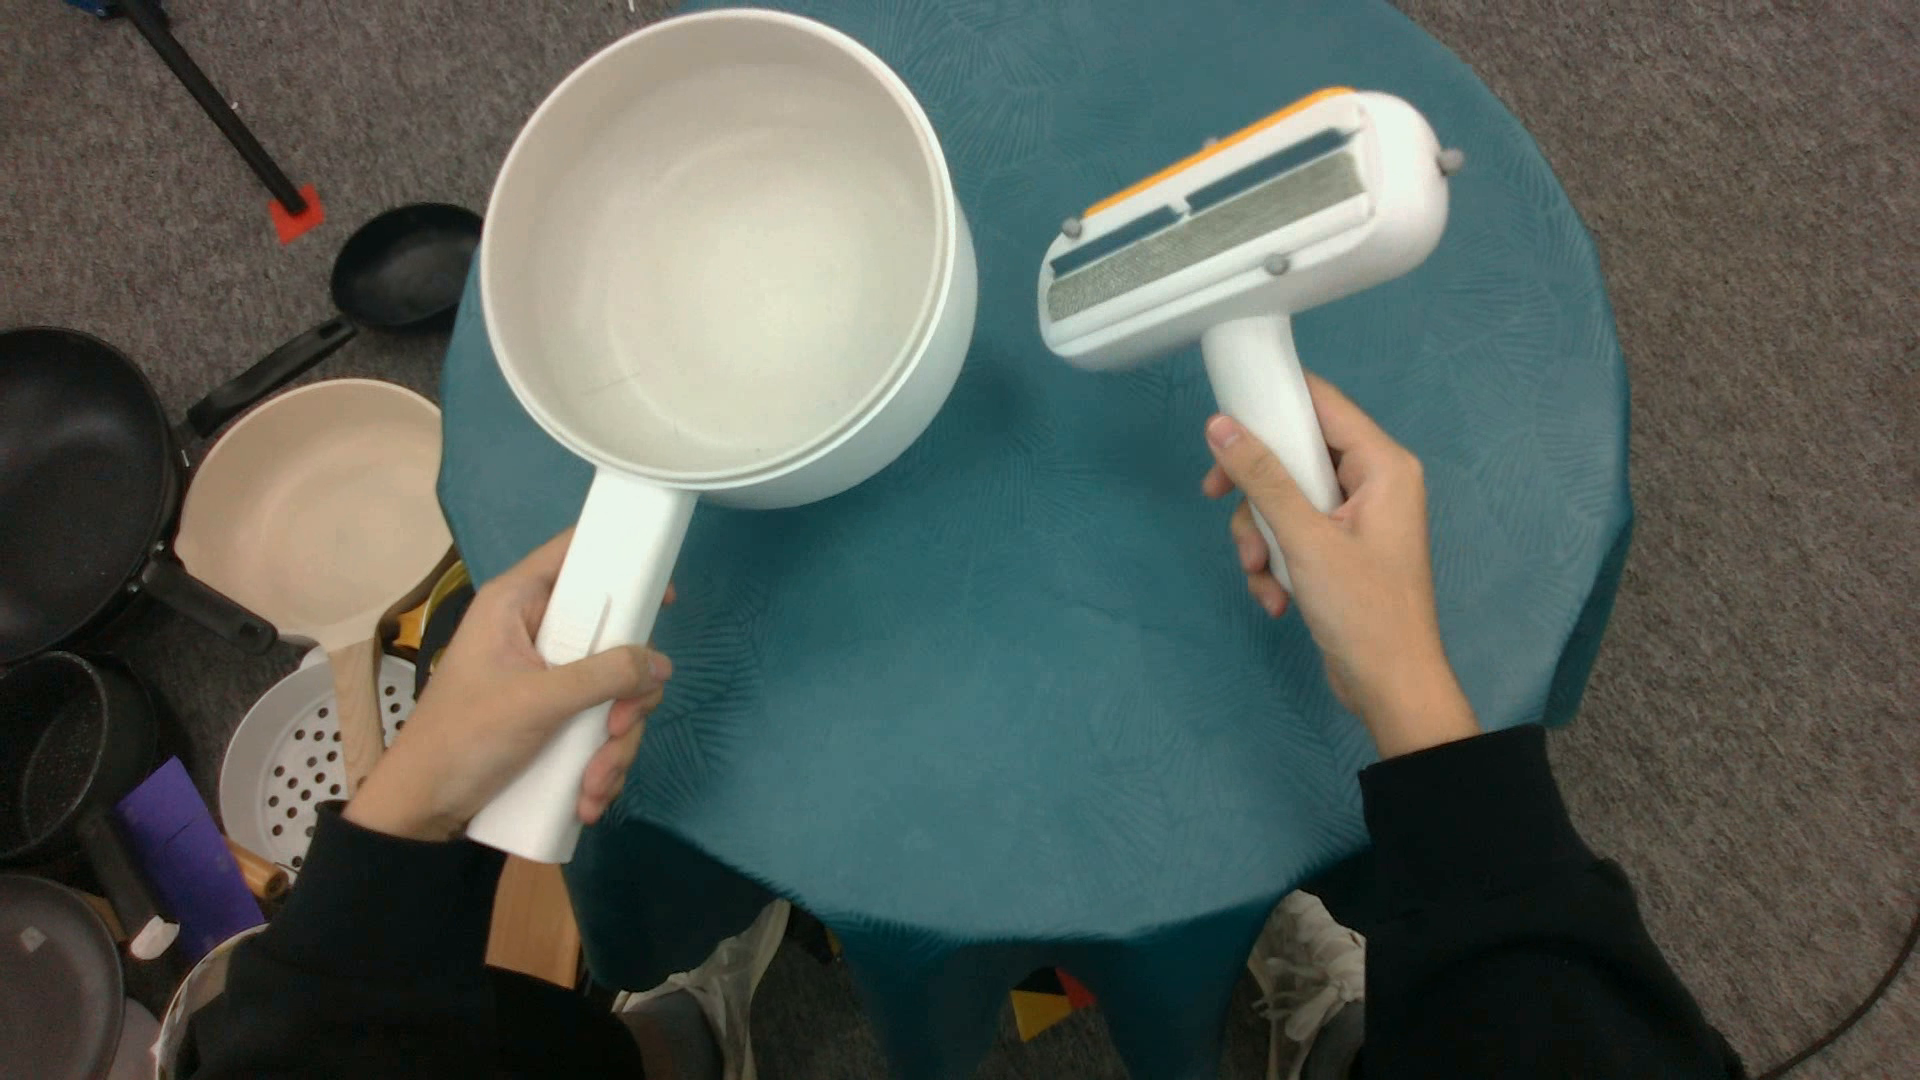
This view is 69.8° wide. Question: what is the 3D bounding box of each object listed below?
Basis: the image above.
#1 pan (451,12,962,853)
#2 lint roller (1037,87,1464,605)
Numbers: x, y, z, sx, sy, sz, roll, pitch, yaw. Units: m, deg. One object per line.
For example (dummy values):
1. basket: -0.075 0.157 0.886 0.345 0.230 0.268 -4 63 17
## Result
1. pan: -0.121 -0.043 0.597 0.201 0.102 0.355 16 84 11
2. lint roller: 0.124 -0.068 0.574 0.192 0.074 0.192 -9 84 40
